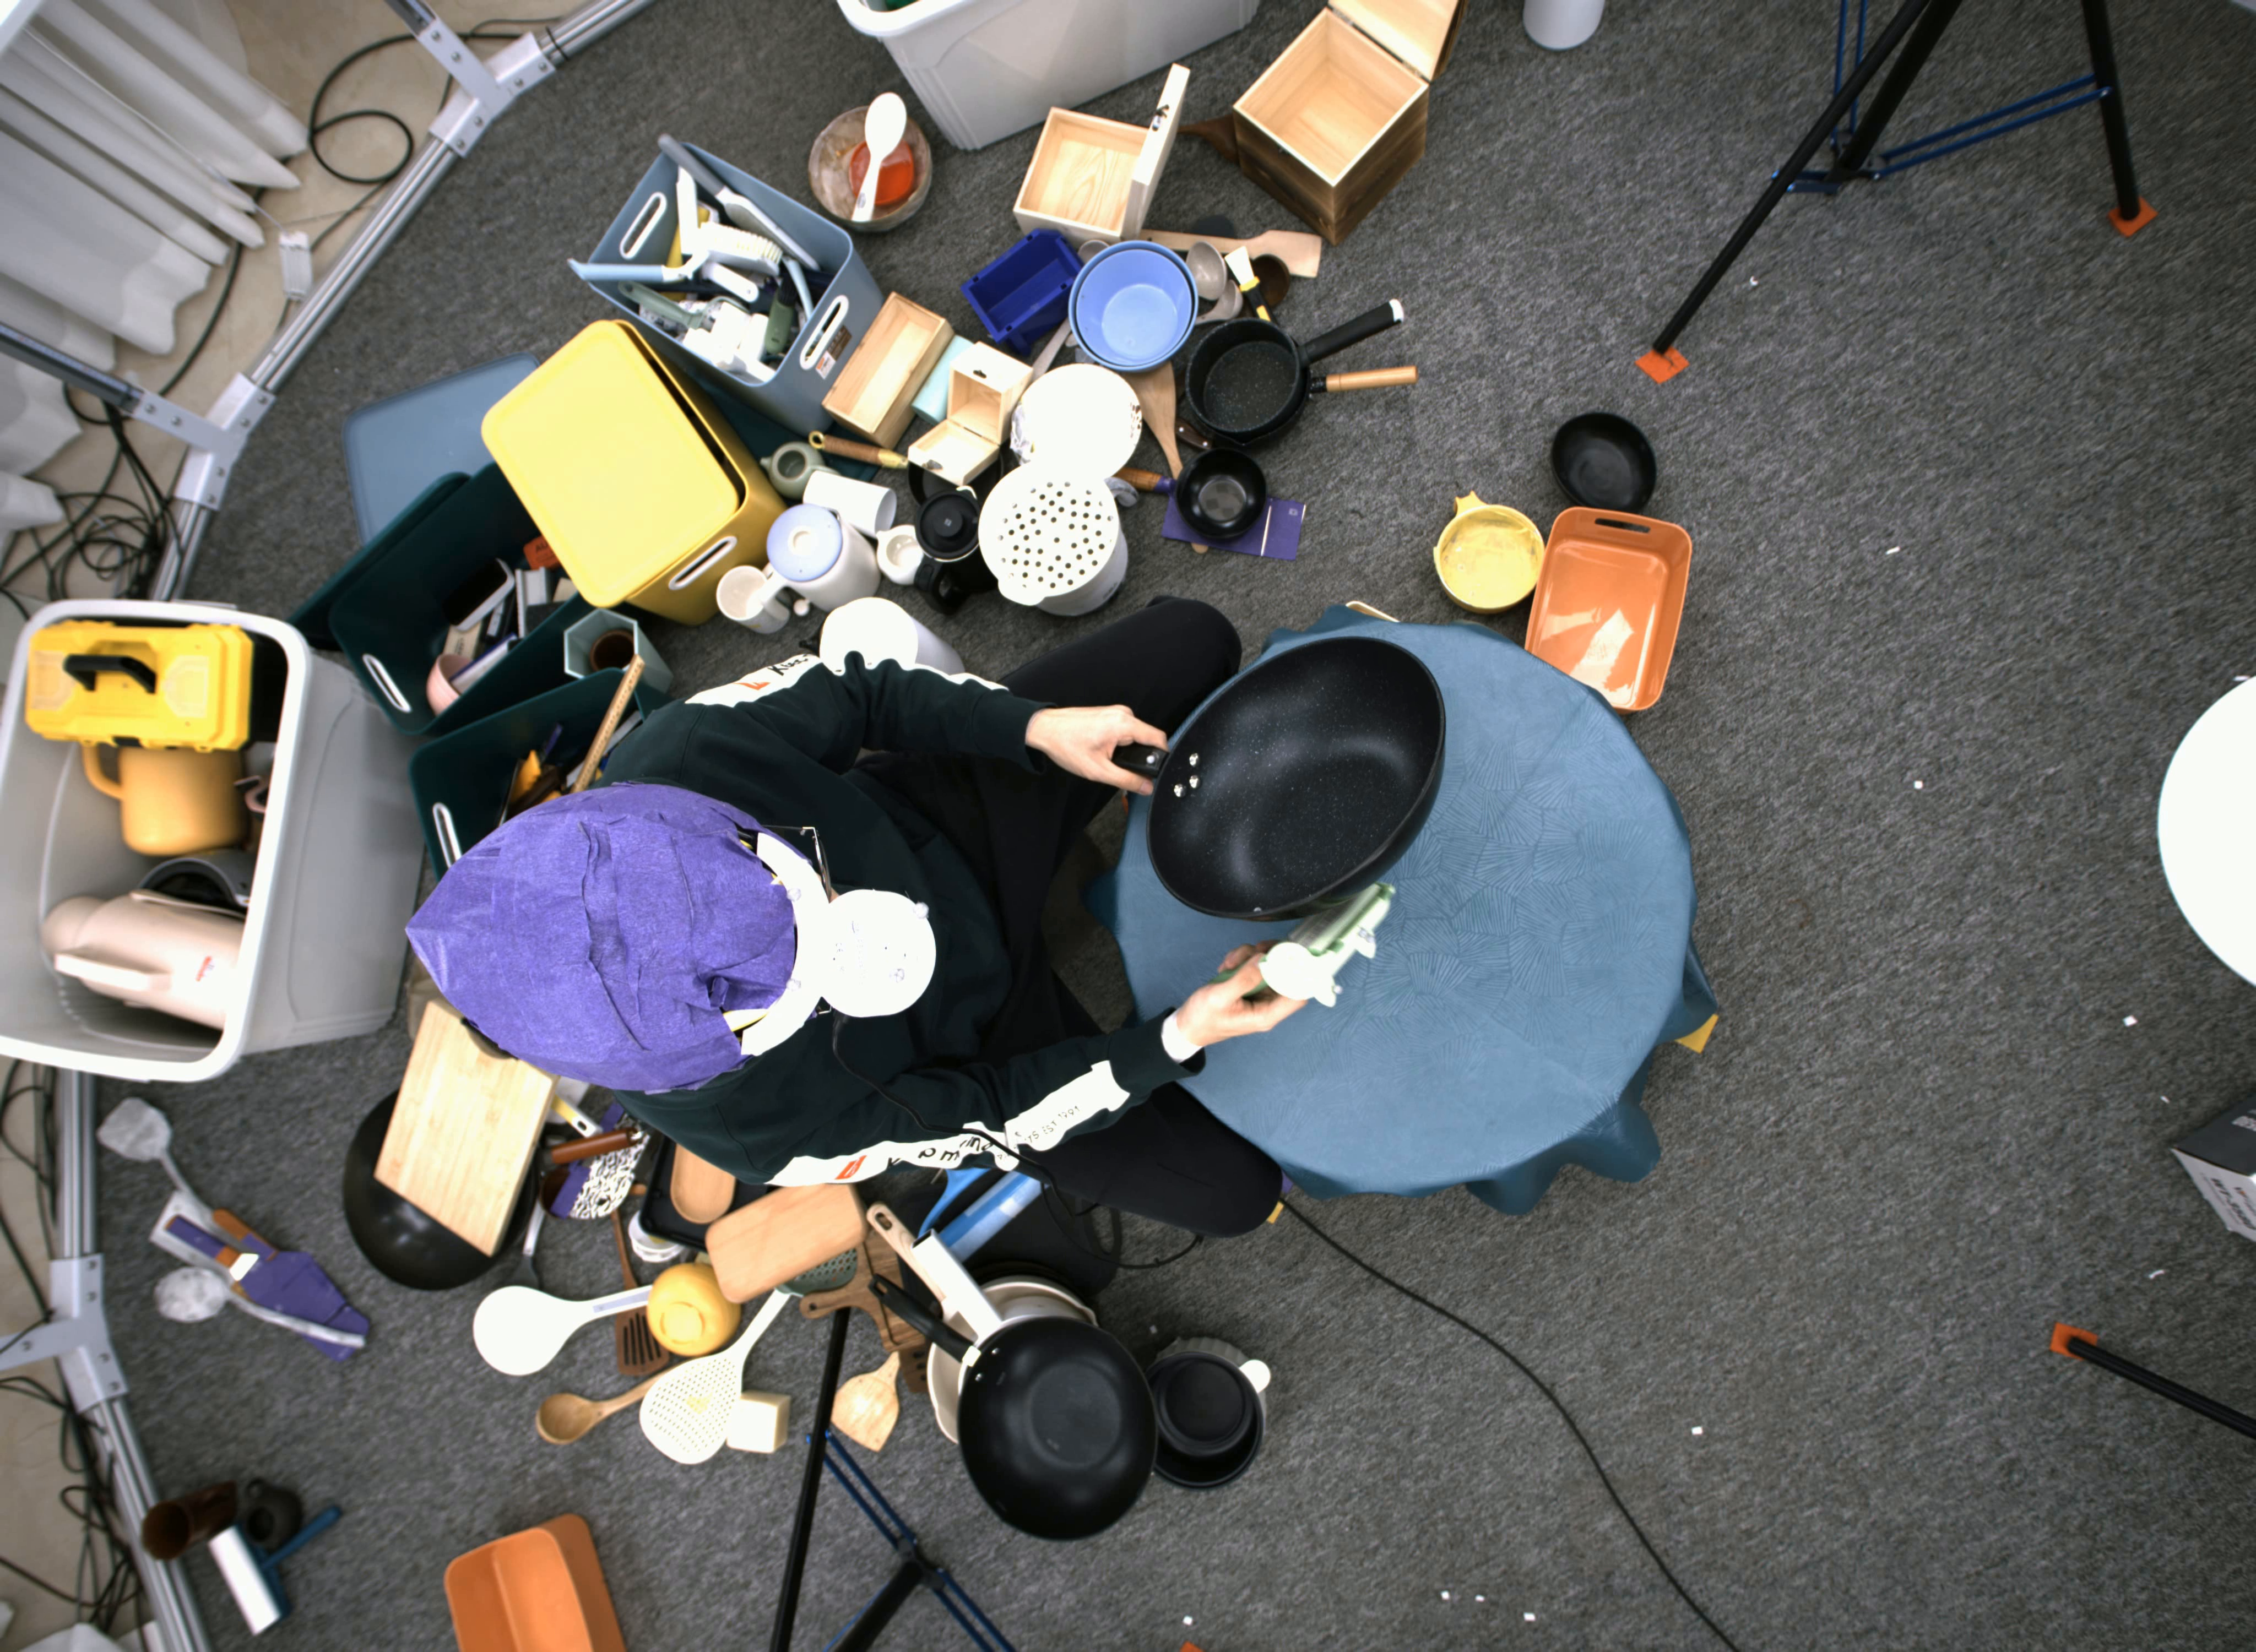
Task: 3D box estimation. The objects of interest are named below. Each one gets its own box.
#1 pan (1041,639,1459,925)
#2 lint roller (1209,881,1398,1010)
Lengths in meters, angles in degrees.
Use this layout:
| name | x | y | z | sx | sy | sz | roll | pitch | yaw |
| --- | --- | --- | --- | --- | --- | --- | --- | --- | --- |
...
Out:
| name | x | y | z | sx | sy | sz | roll | pitch | yaw |
| --- | --- | --- | --- | --- | --- | --- | --- | --- | --- |
| pan | 0.108 | -0.042 | 1.323 | 0.478 | 0.113 | 0.305 | 8 | 63 | 45 |
| lint roller | 0.156 | 0.136 | 1.285 | 0.082 | 0.195 | 0.187 | 50 | 124 | 5 |
